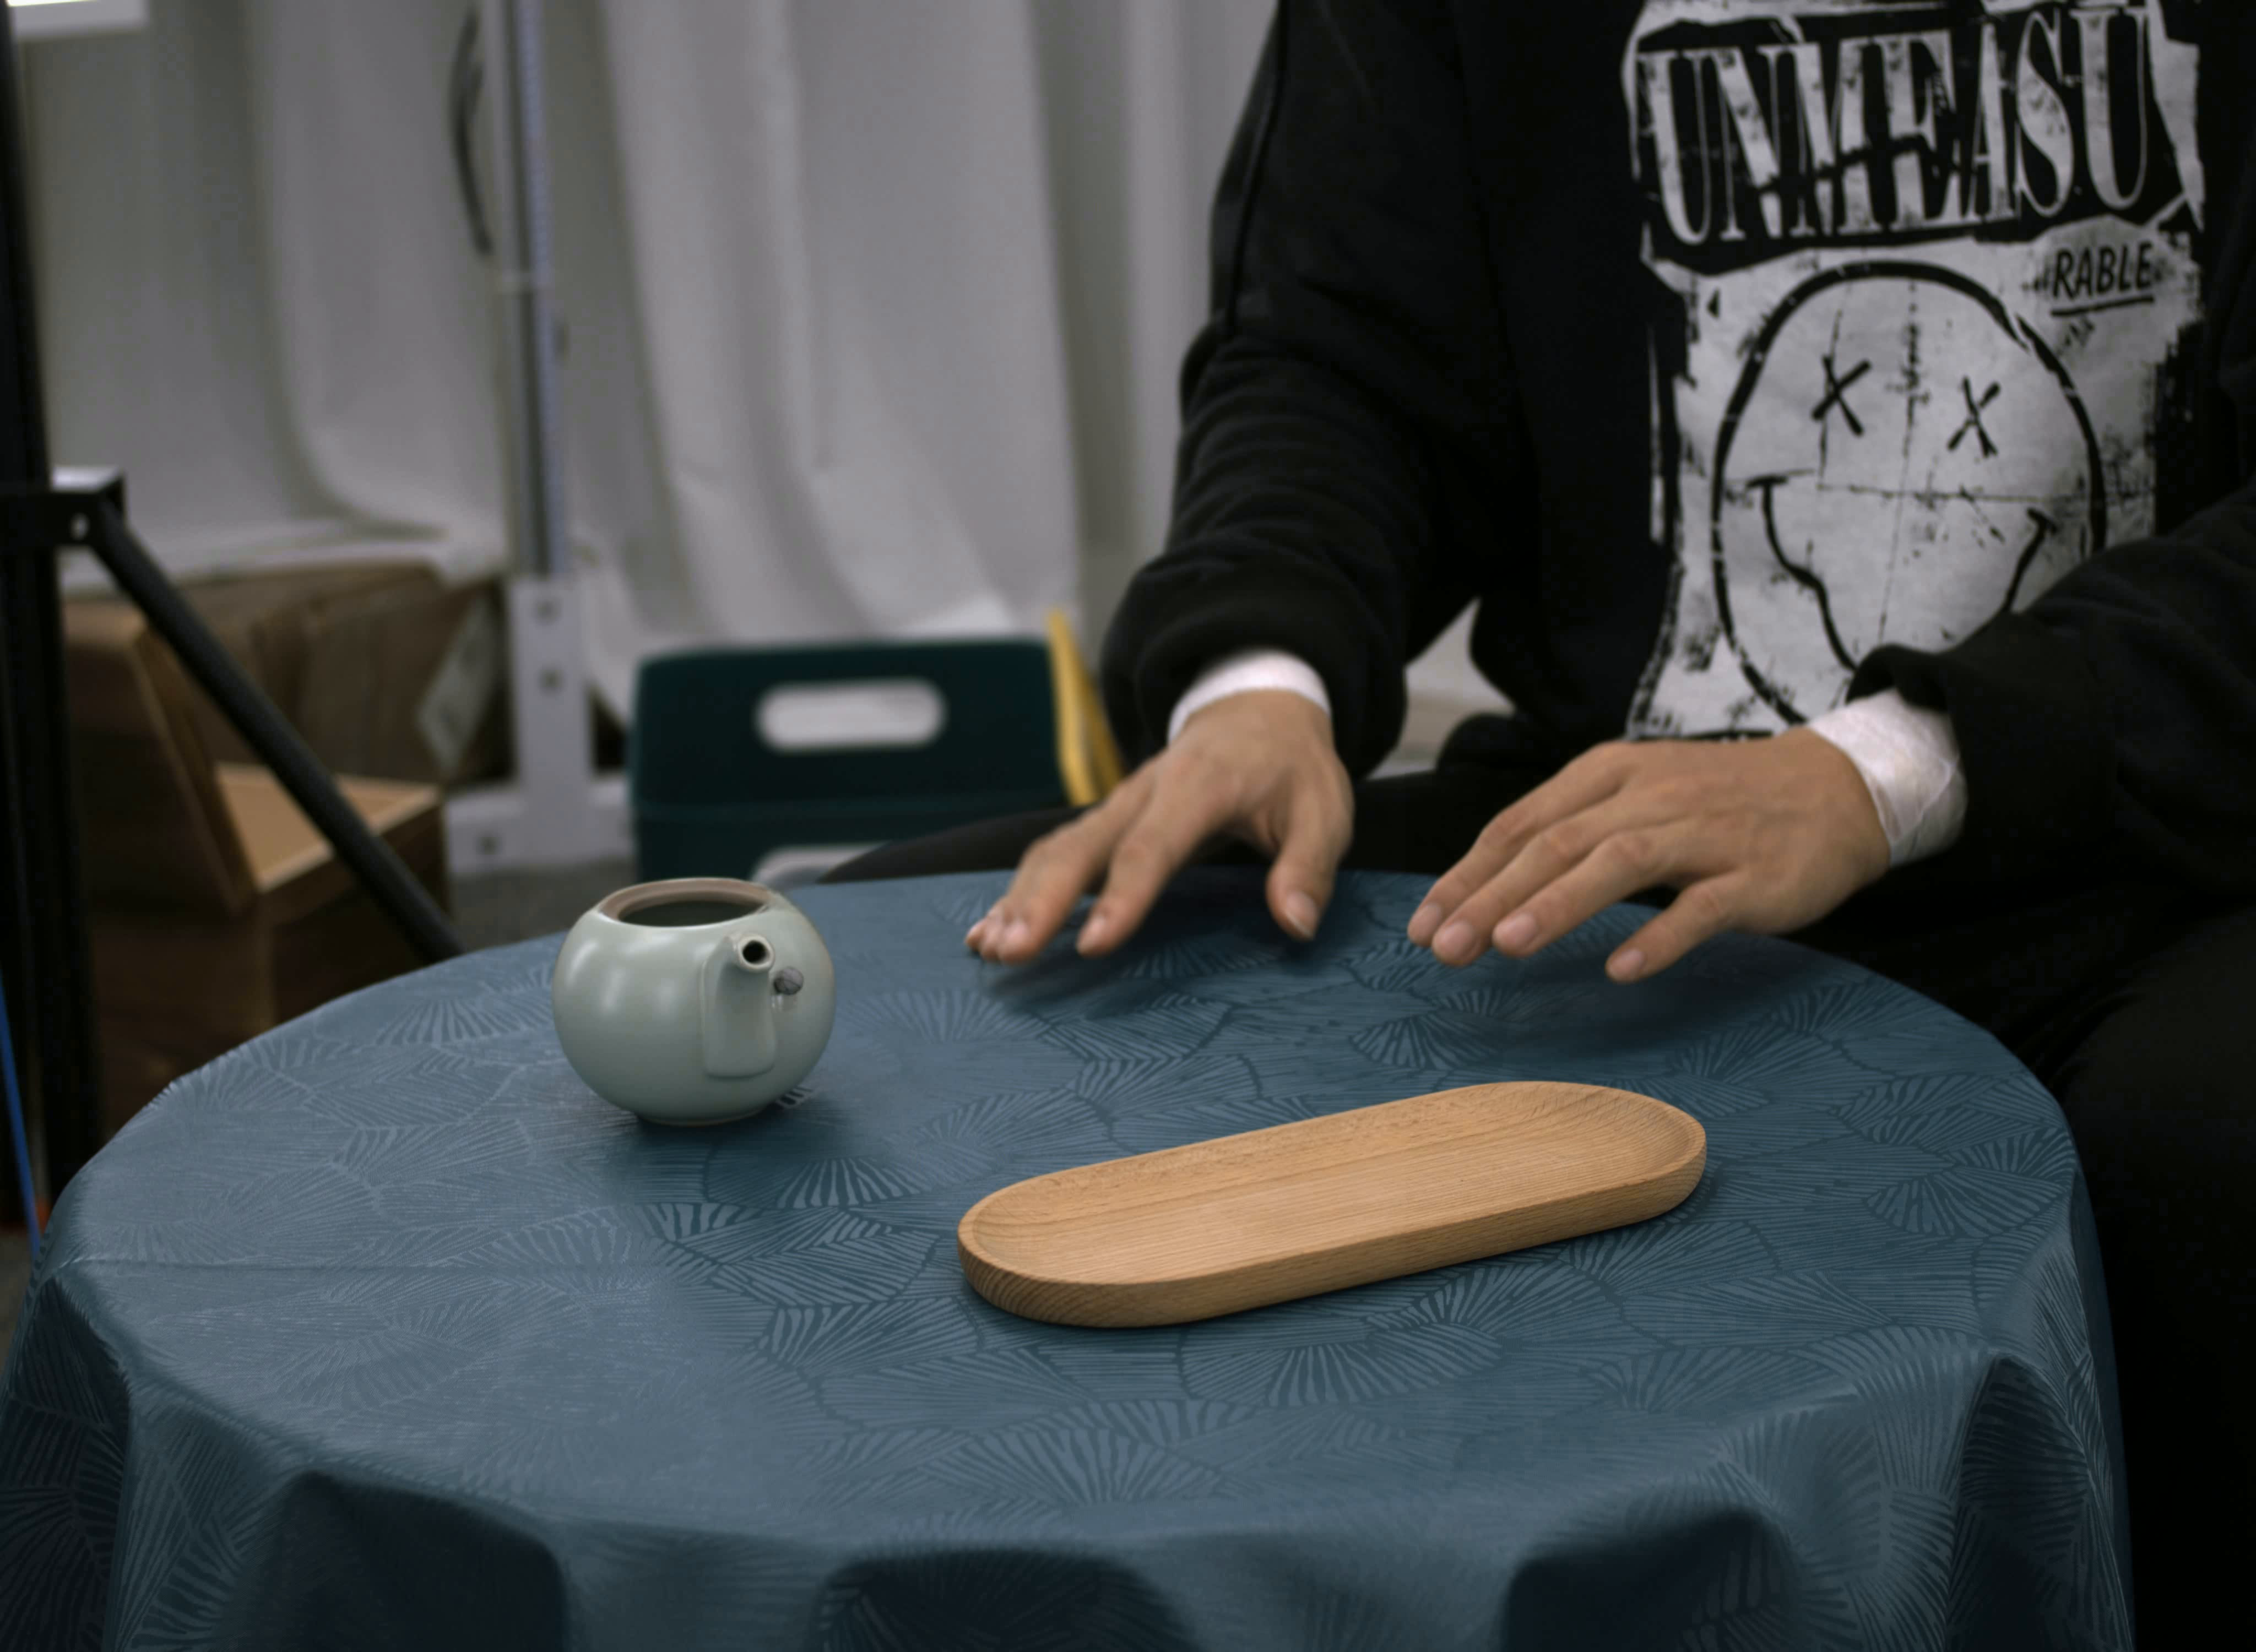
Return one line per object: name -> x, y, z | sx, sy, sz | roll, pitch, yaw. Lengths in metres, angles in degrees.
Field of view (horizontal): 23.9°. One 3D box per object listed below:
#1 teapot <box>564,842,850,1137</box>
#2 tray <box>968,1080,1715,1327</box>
teapot -> -0.129, 0.055, 1.636 | 0.087, 0.075, 0.146 | -7, 16, -19
tray -> 0.063, 0.108, 1.517 | 0.226, 0.020, 0.104 | -9, 18, -25
